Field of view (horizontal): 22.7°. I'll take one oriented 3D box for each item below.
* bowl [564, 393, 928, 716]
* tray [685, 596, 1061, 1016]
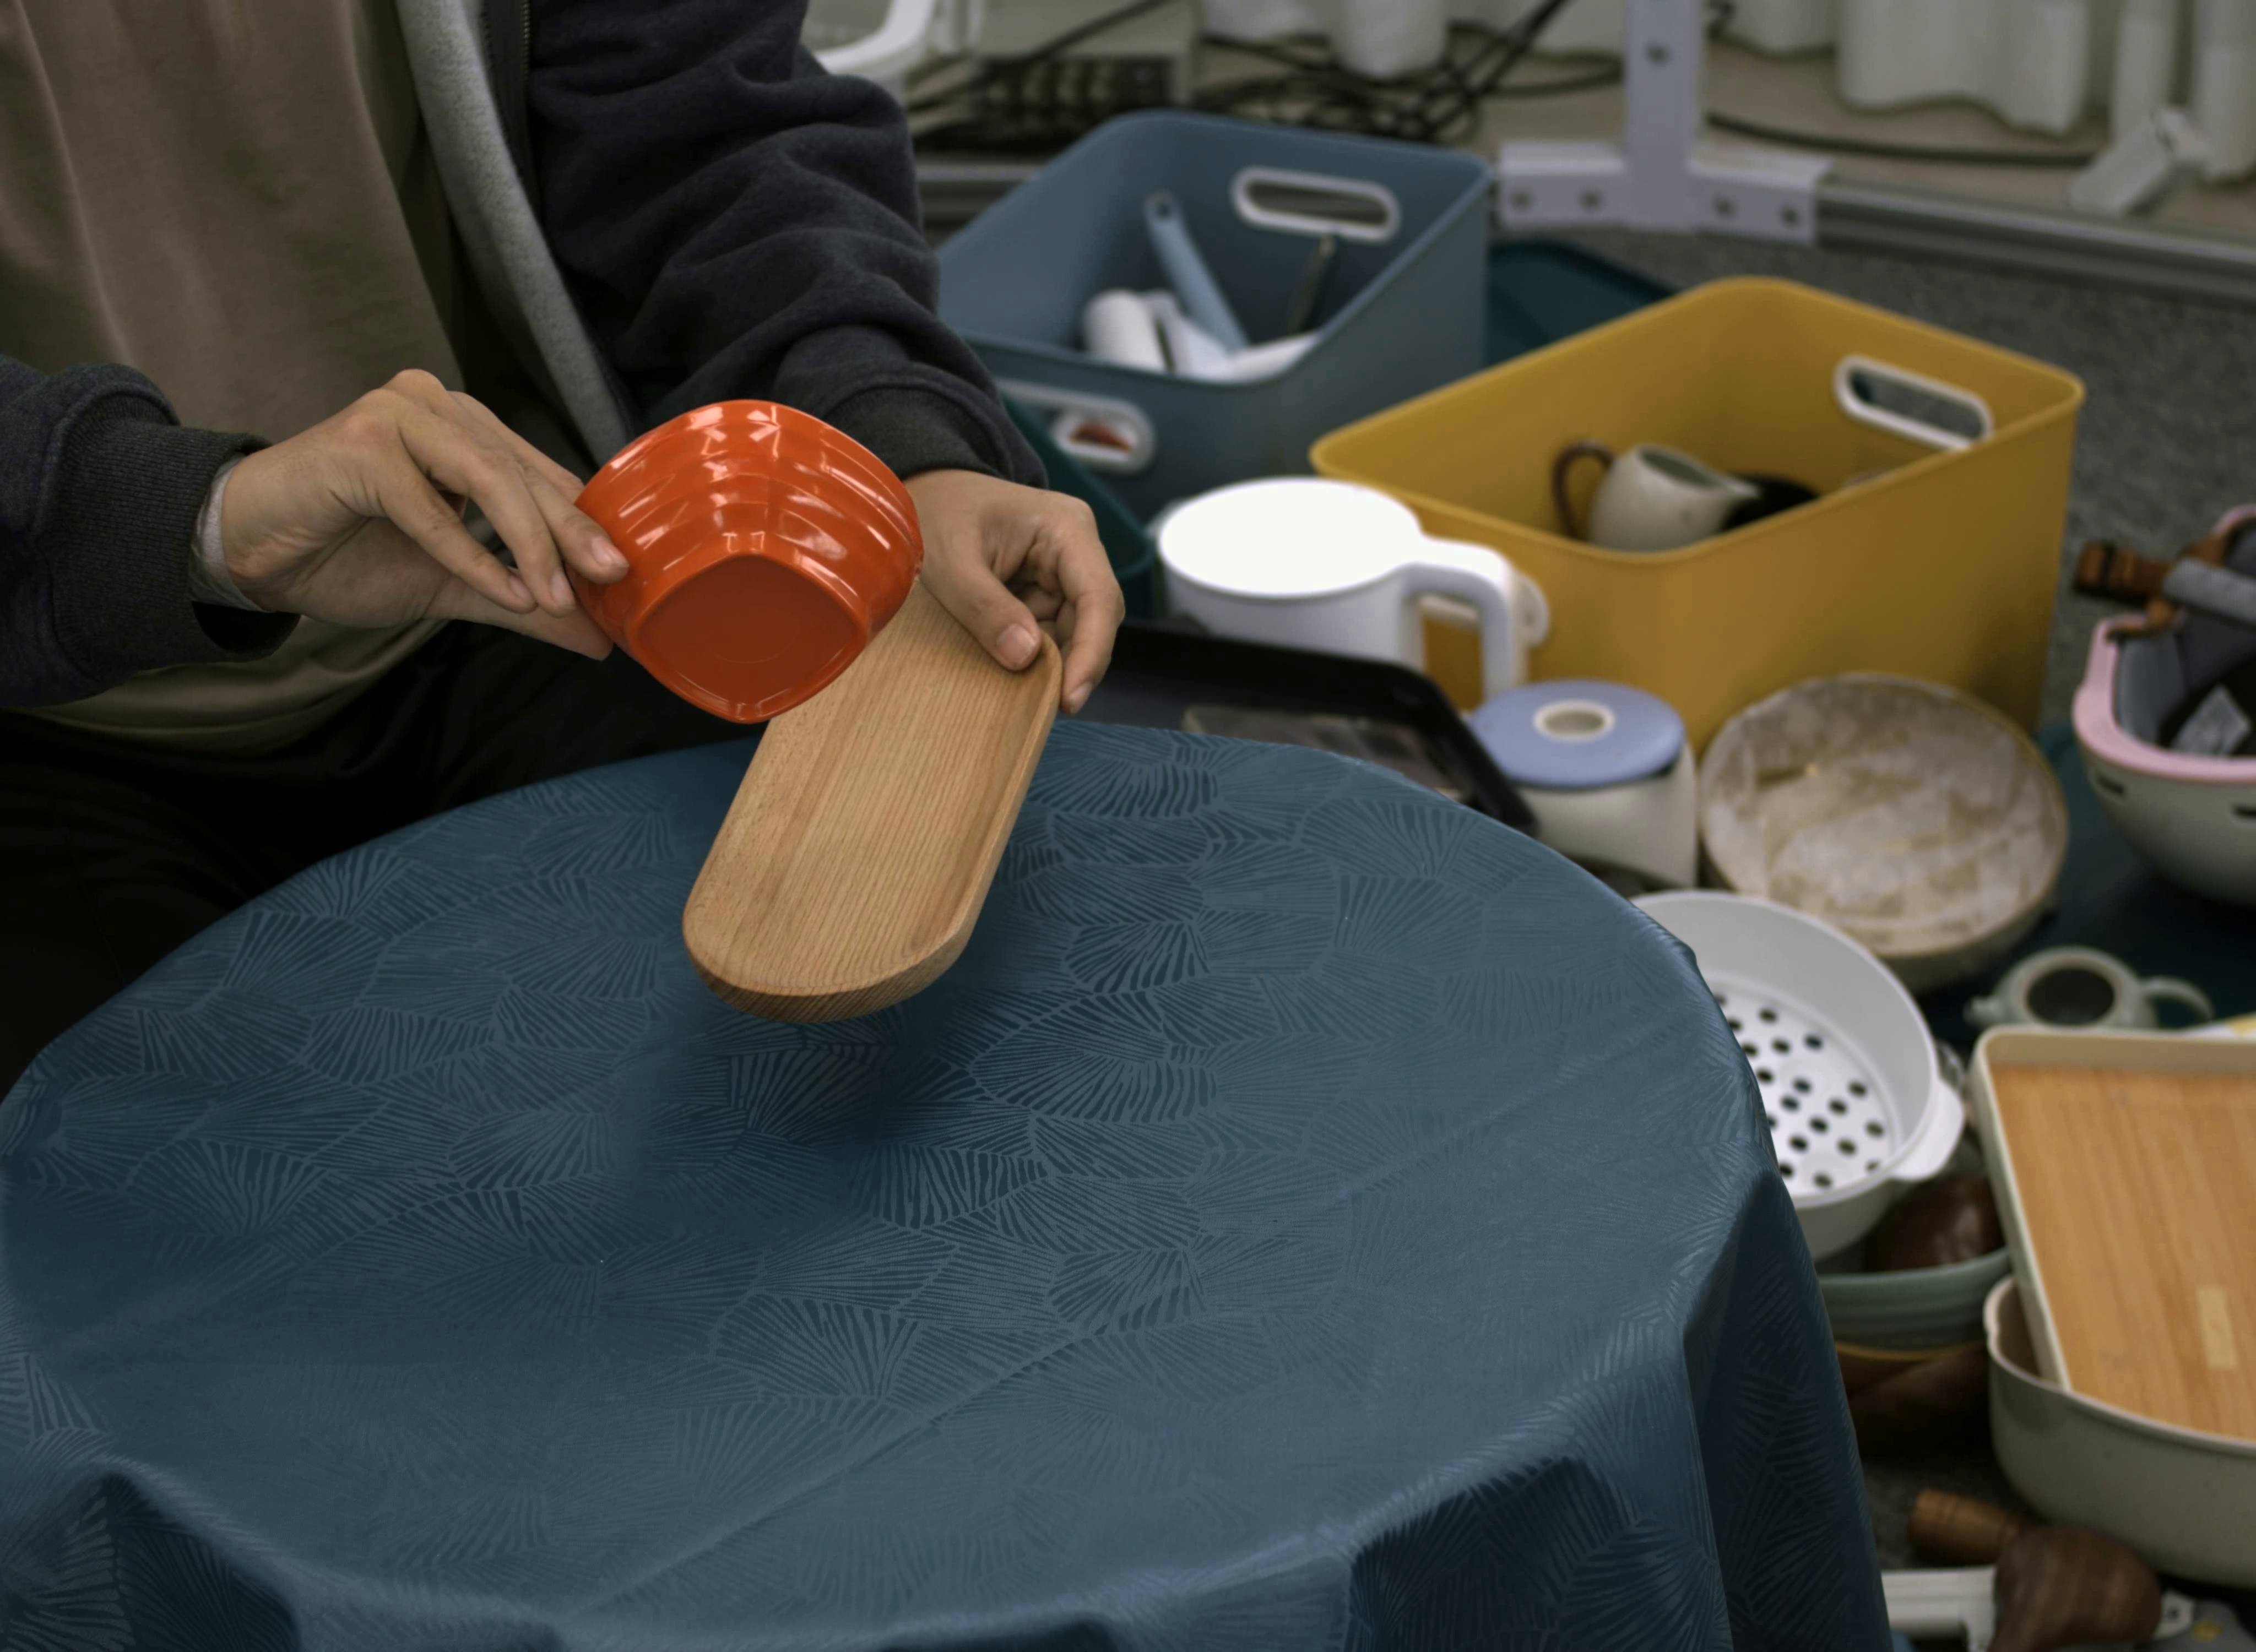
[{"bbox_3d":[-0.123,-0.079,1.818,0.118,0.117,0.052,-4,46,-3],"label":"bowl"},{"bbox_3d":[-0.086,-0.009,1.949,0.101,0.020,0.236,2,35,12],"label":"tray"}]
